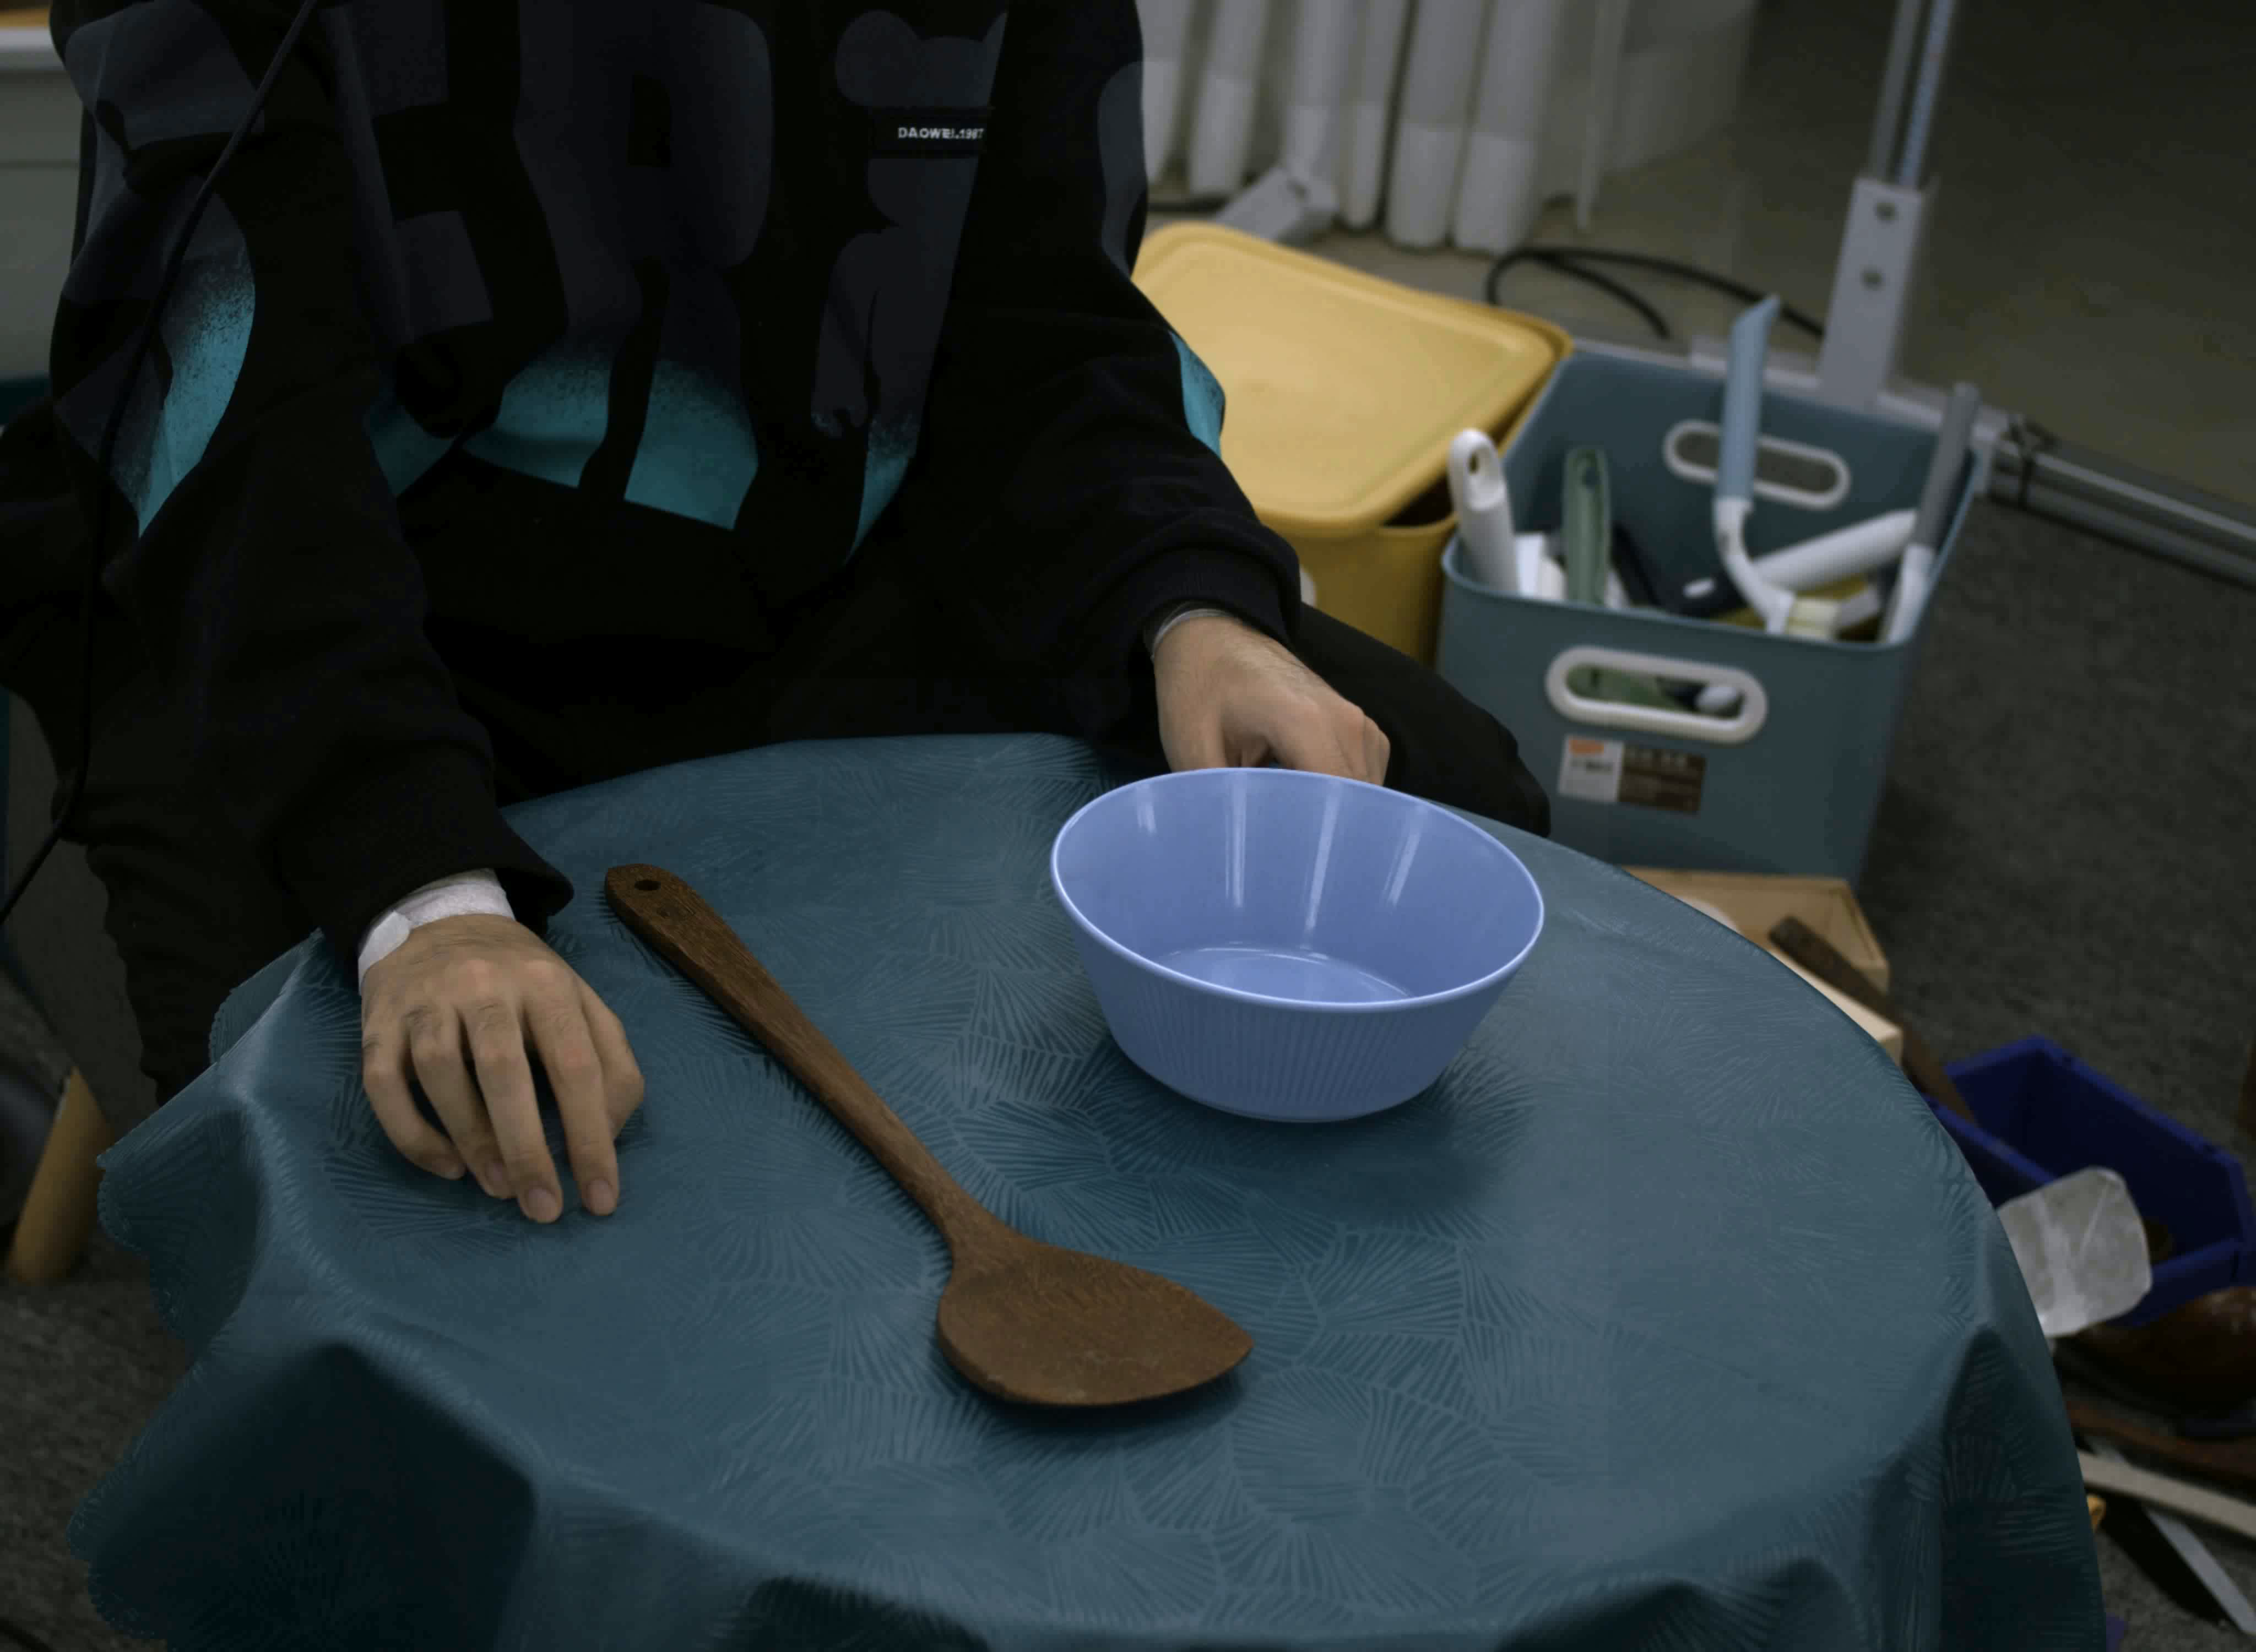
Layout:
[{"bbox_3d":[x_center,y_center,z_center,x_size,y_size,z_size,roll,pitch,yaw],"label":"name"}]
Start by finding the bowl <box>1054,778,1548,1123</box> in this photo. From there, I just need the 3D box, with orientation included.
[{"bbox_3d":[0.058,0.050,1.883,0.175,0.070,0.177,4,25,-2],"label":"bowl"}]

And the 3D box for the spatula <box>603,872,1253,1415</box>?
[{"bbox_3d":[-0.089,0.099,1.813,0.095,0.016,0.389,-9,30,-30],"label":"spatula"}]
